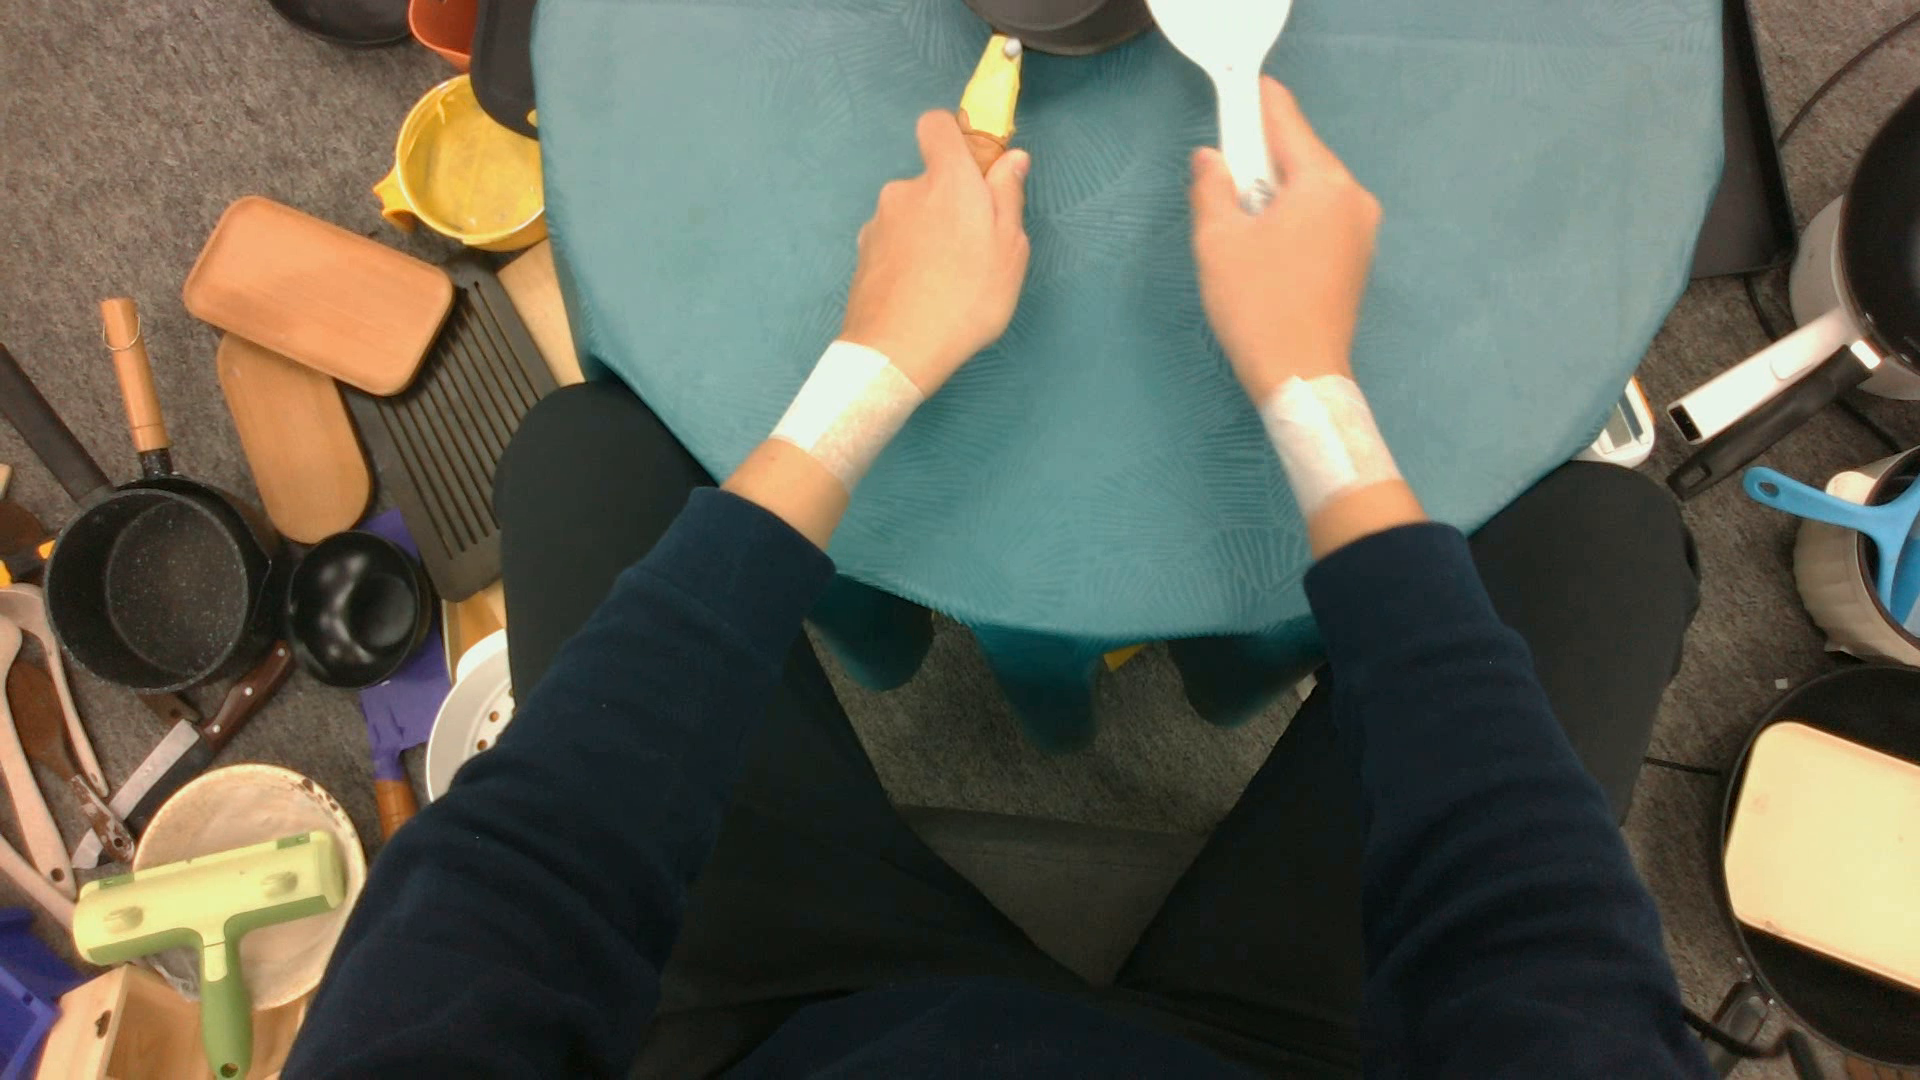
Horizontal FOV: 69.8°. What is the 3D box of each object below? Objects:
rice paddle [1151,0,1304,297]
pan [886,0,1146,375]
[{"bbox_3d":[0.128,-0.217,0.642,0.069,0.029,0.205,-8,84,6],"label":"rice paddle"},{"bbox_3d":[0.009,-0.233,0.649,0.169,0.049,0.324,20,85,-29],"label":"pan"}]
